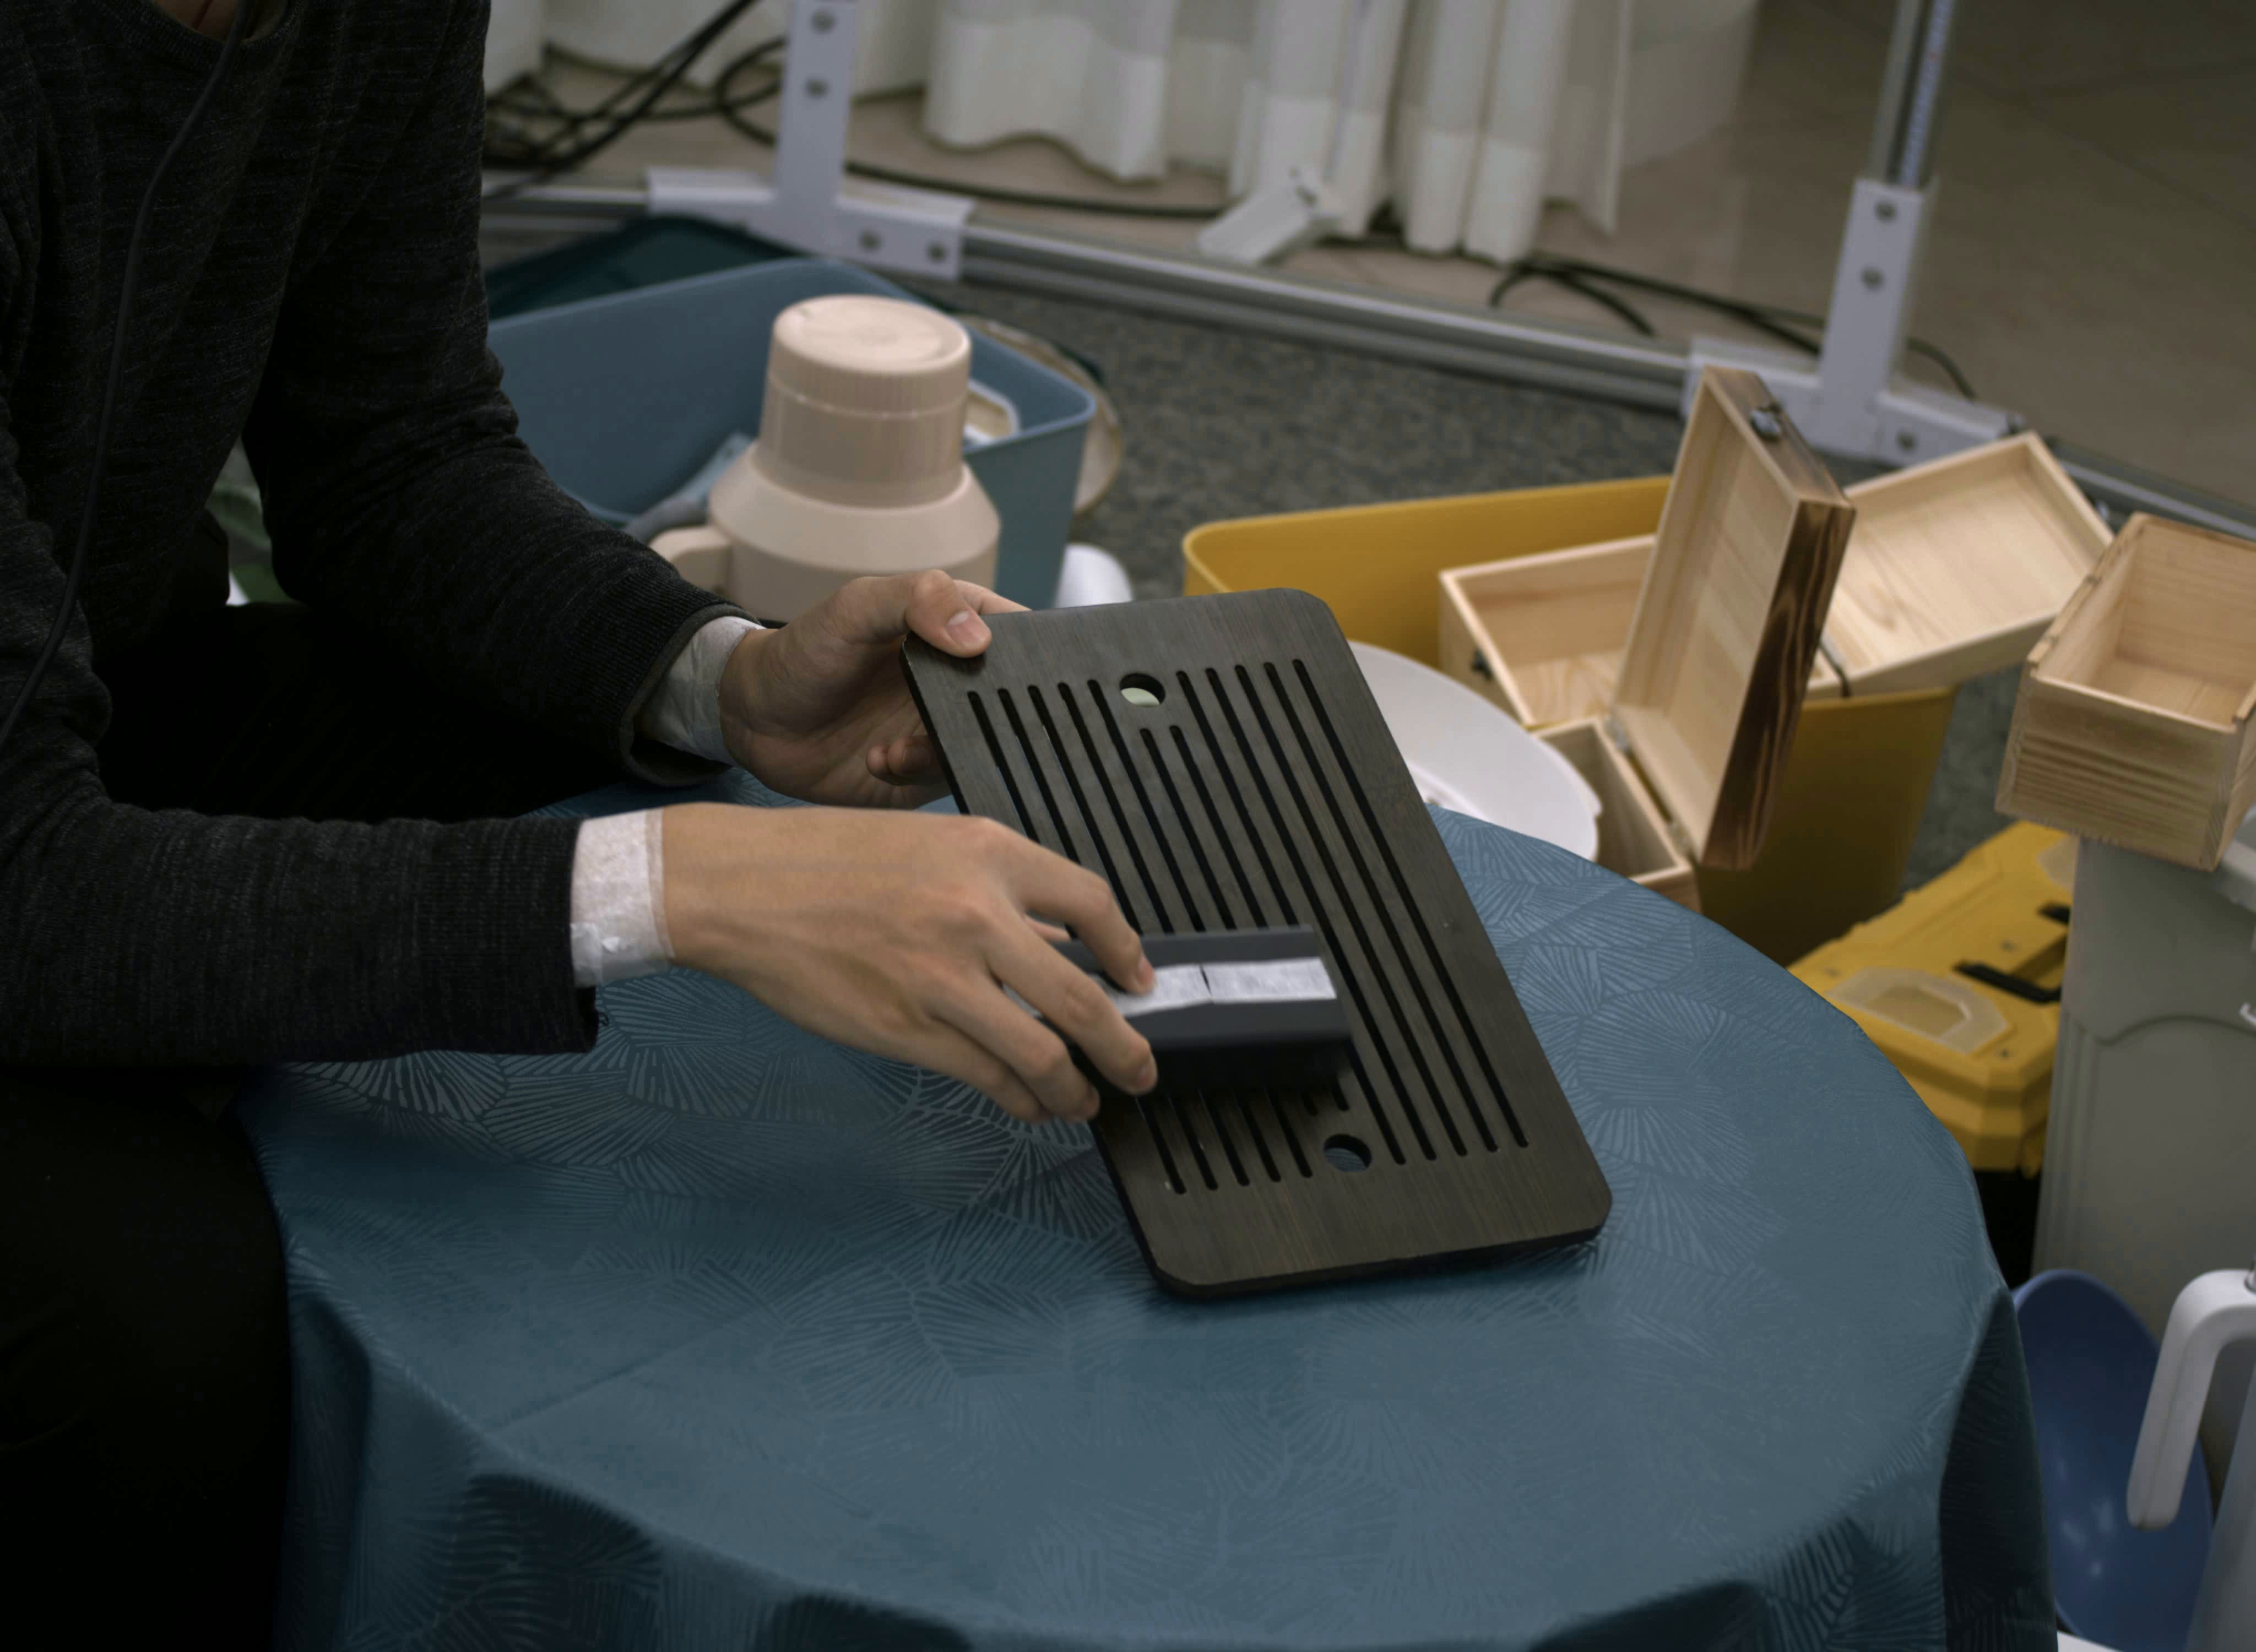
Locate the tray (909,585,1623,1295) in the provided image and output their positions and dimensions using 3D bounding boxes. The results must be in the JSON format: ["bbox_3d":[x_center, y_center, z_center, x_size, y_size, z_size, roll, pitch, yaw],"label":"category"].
[{"bbox_3d":[0.043,0.035,1.859,0.169,0.018,0.309,-6,49,-21],"label":"tray"}]

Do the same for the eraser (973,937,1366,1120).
[{"bbox_3d":[0.013,0.067,1.792,0.125,0.030,0.054,-4,47,-17],"label":"eraser"}]
